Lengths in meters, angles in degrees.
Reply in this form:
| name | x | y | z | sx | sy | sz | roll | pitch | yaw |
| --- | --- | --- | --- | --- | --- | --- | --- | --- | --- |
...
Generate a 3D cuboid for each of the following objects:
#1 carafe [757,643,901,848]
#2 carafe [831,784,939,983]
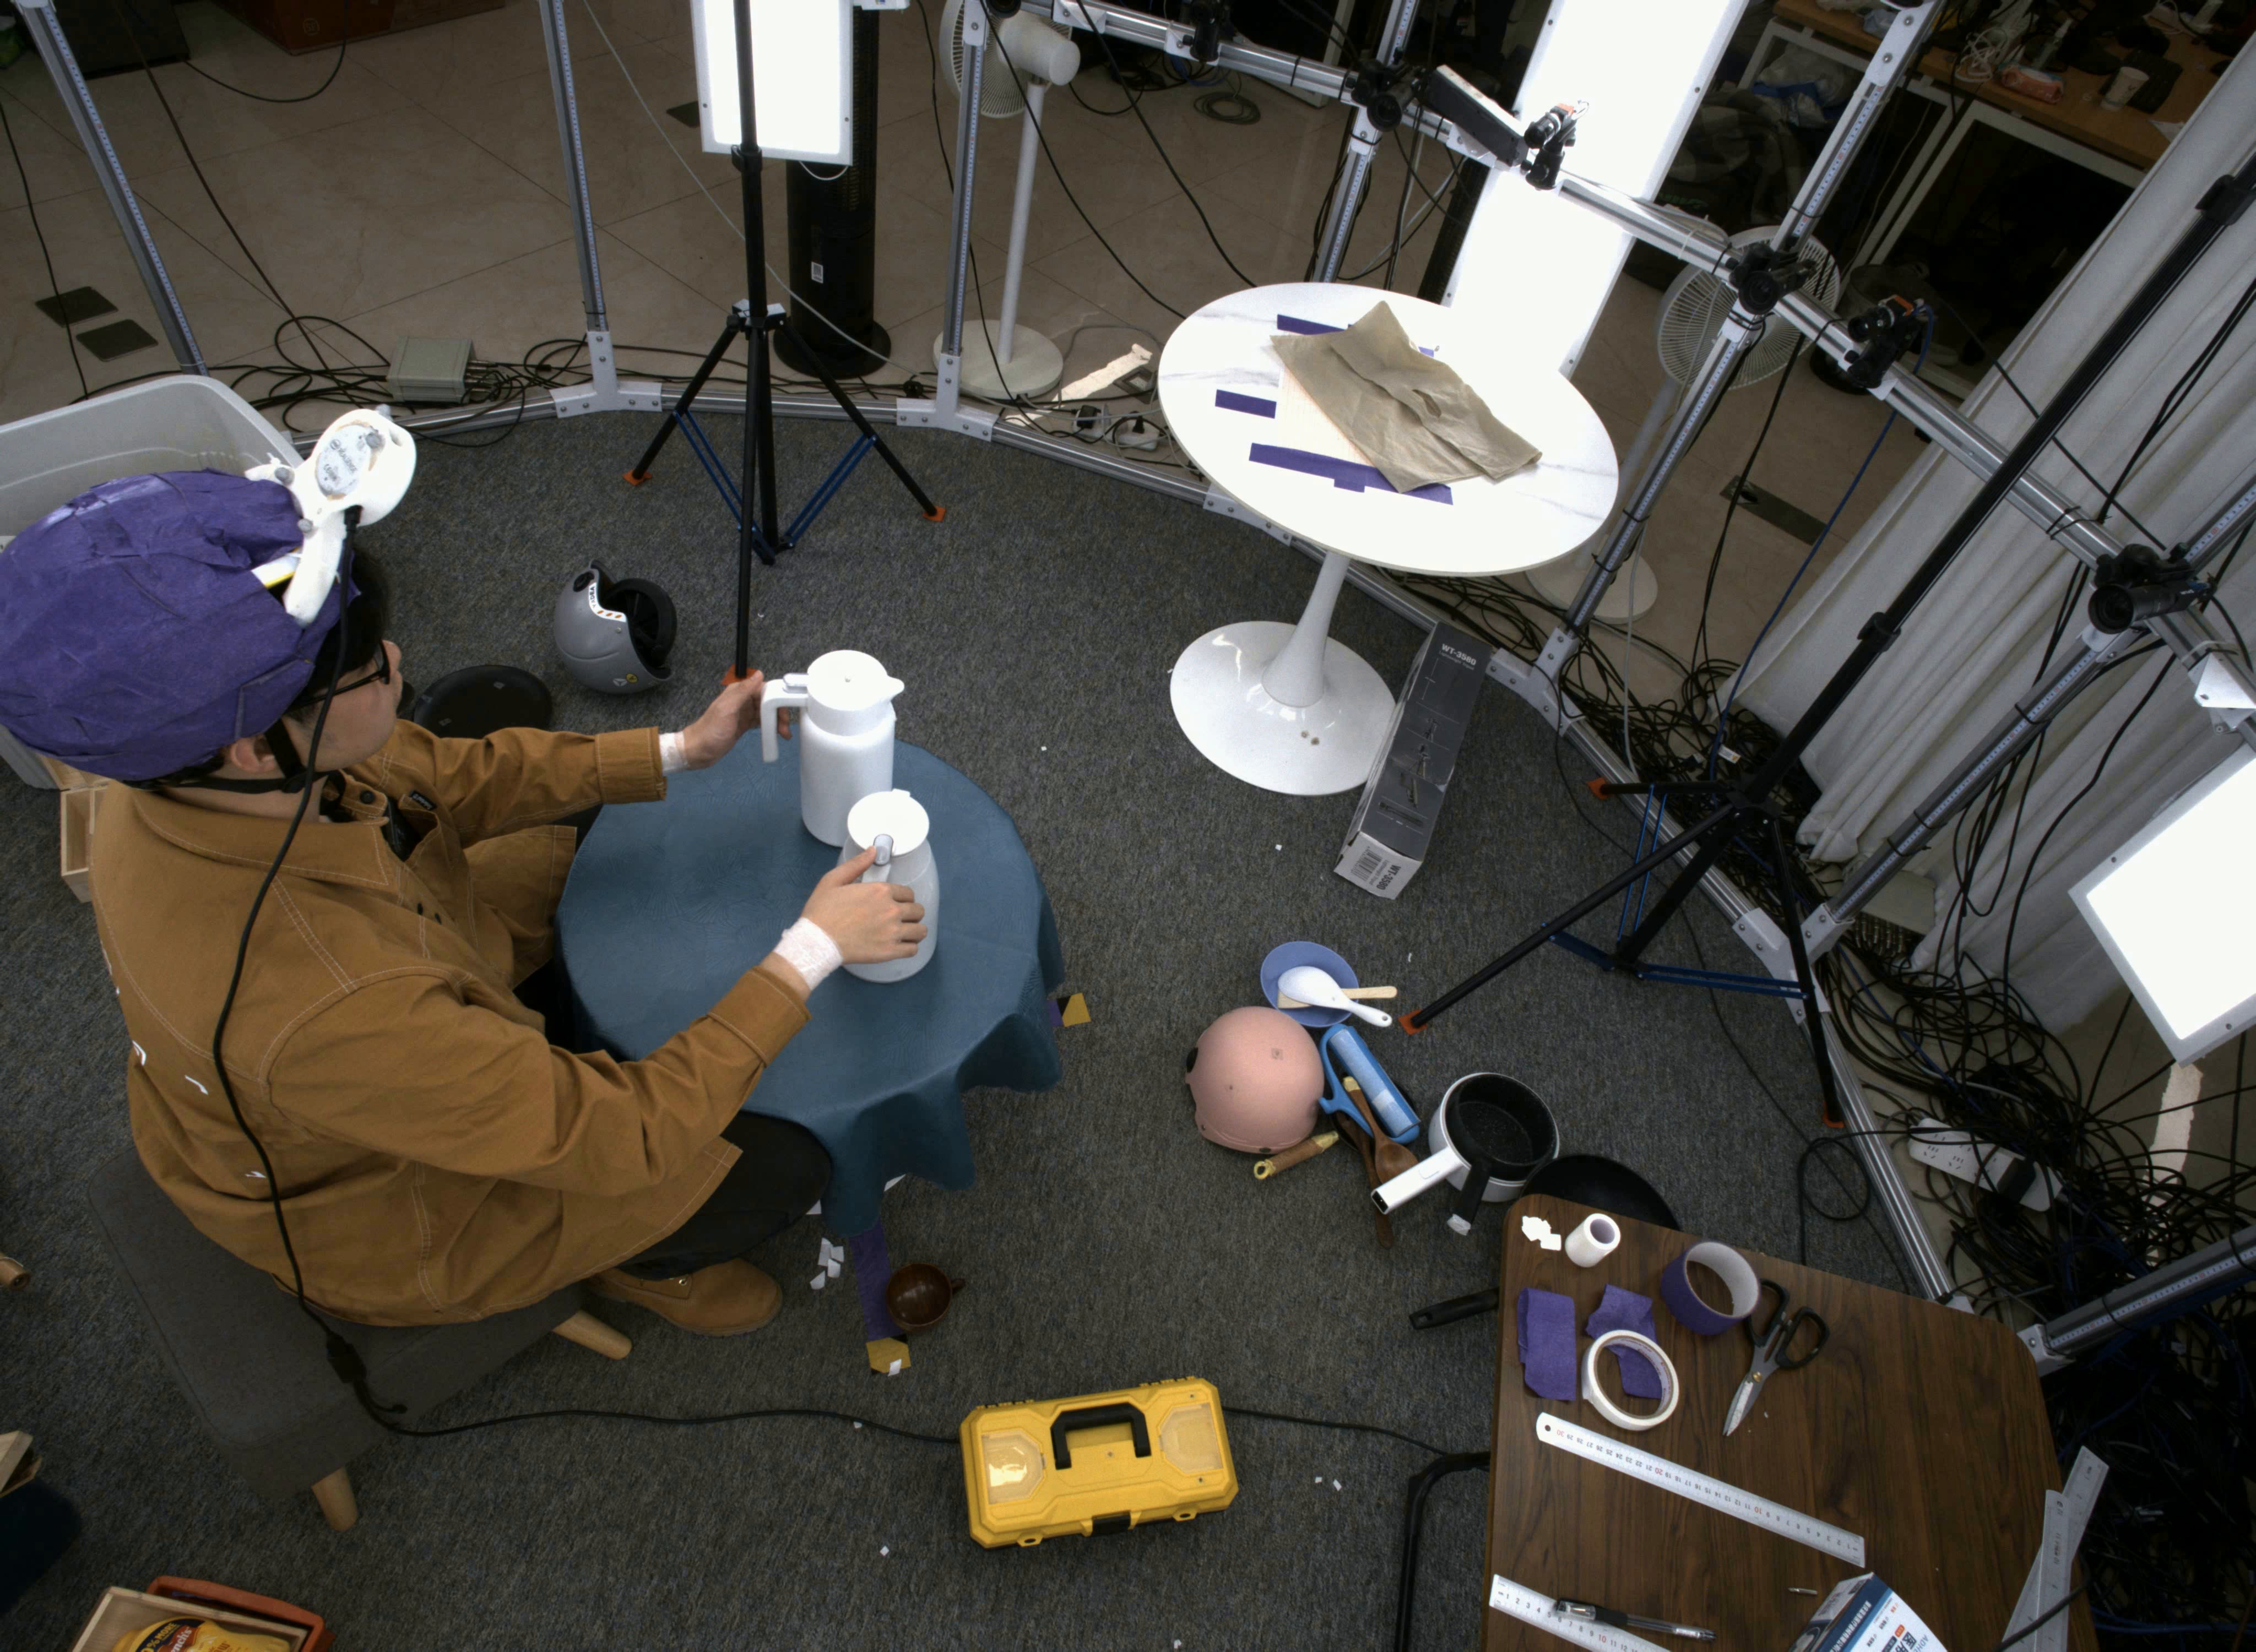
| name | x | y | z | sx | sy | sz | roll | pitch | yaw |
| --- | --- | --- | --- | --- | --- | --- | --- | --- | --- |
| carafe | -0.375 | -0.097 | 1.634 | 0.173 | 0.274 | 0.121 | -2 | 55 | -14 |
| carafe | -0.291 | 0.078 | 1.536 | 0.132 | 0.254 | 0.165 | 11 | 52 | -3 |
